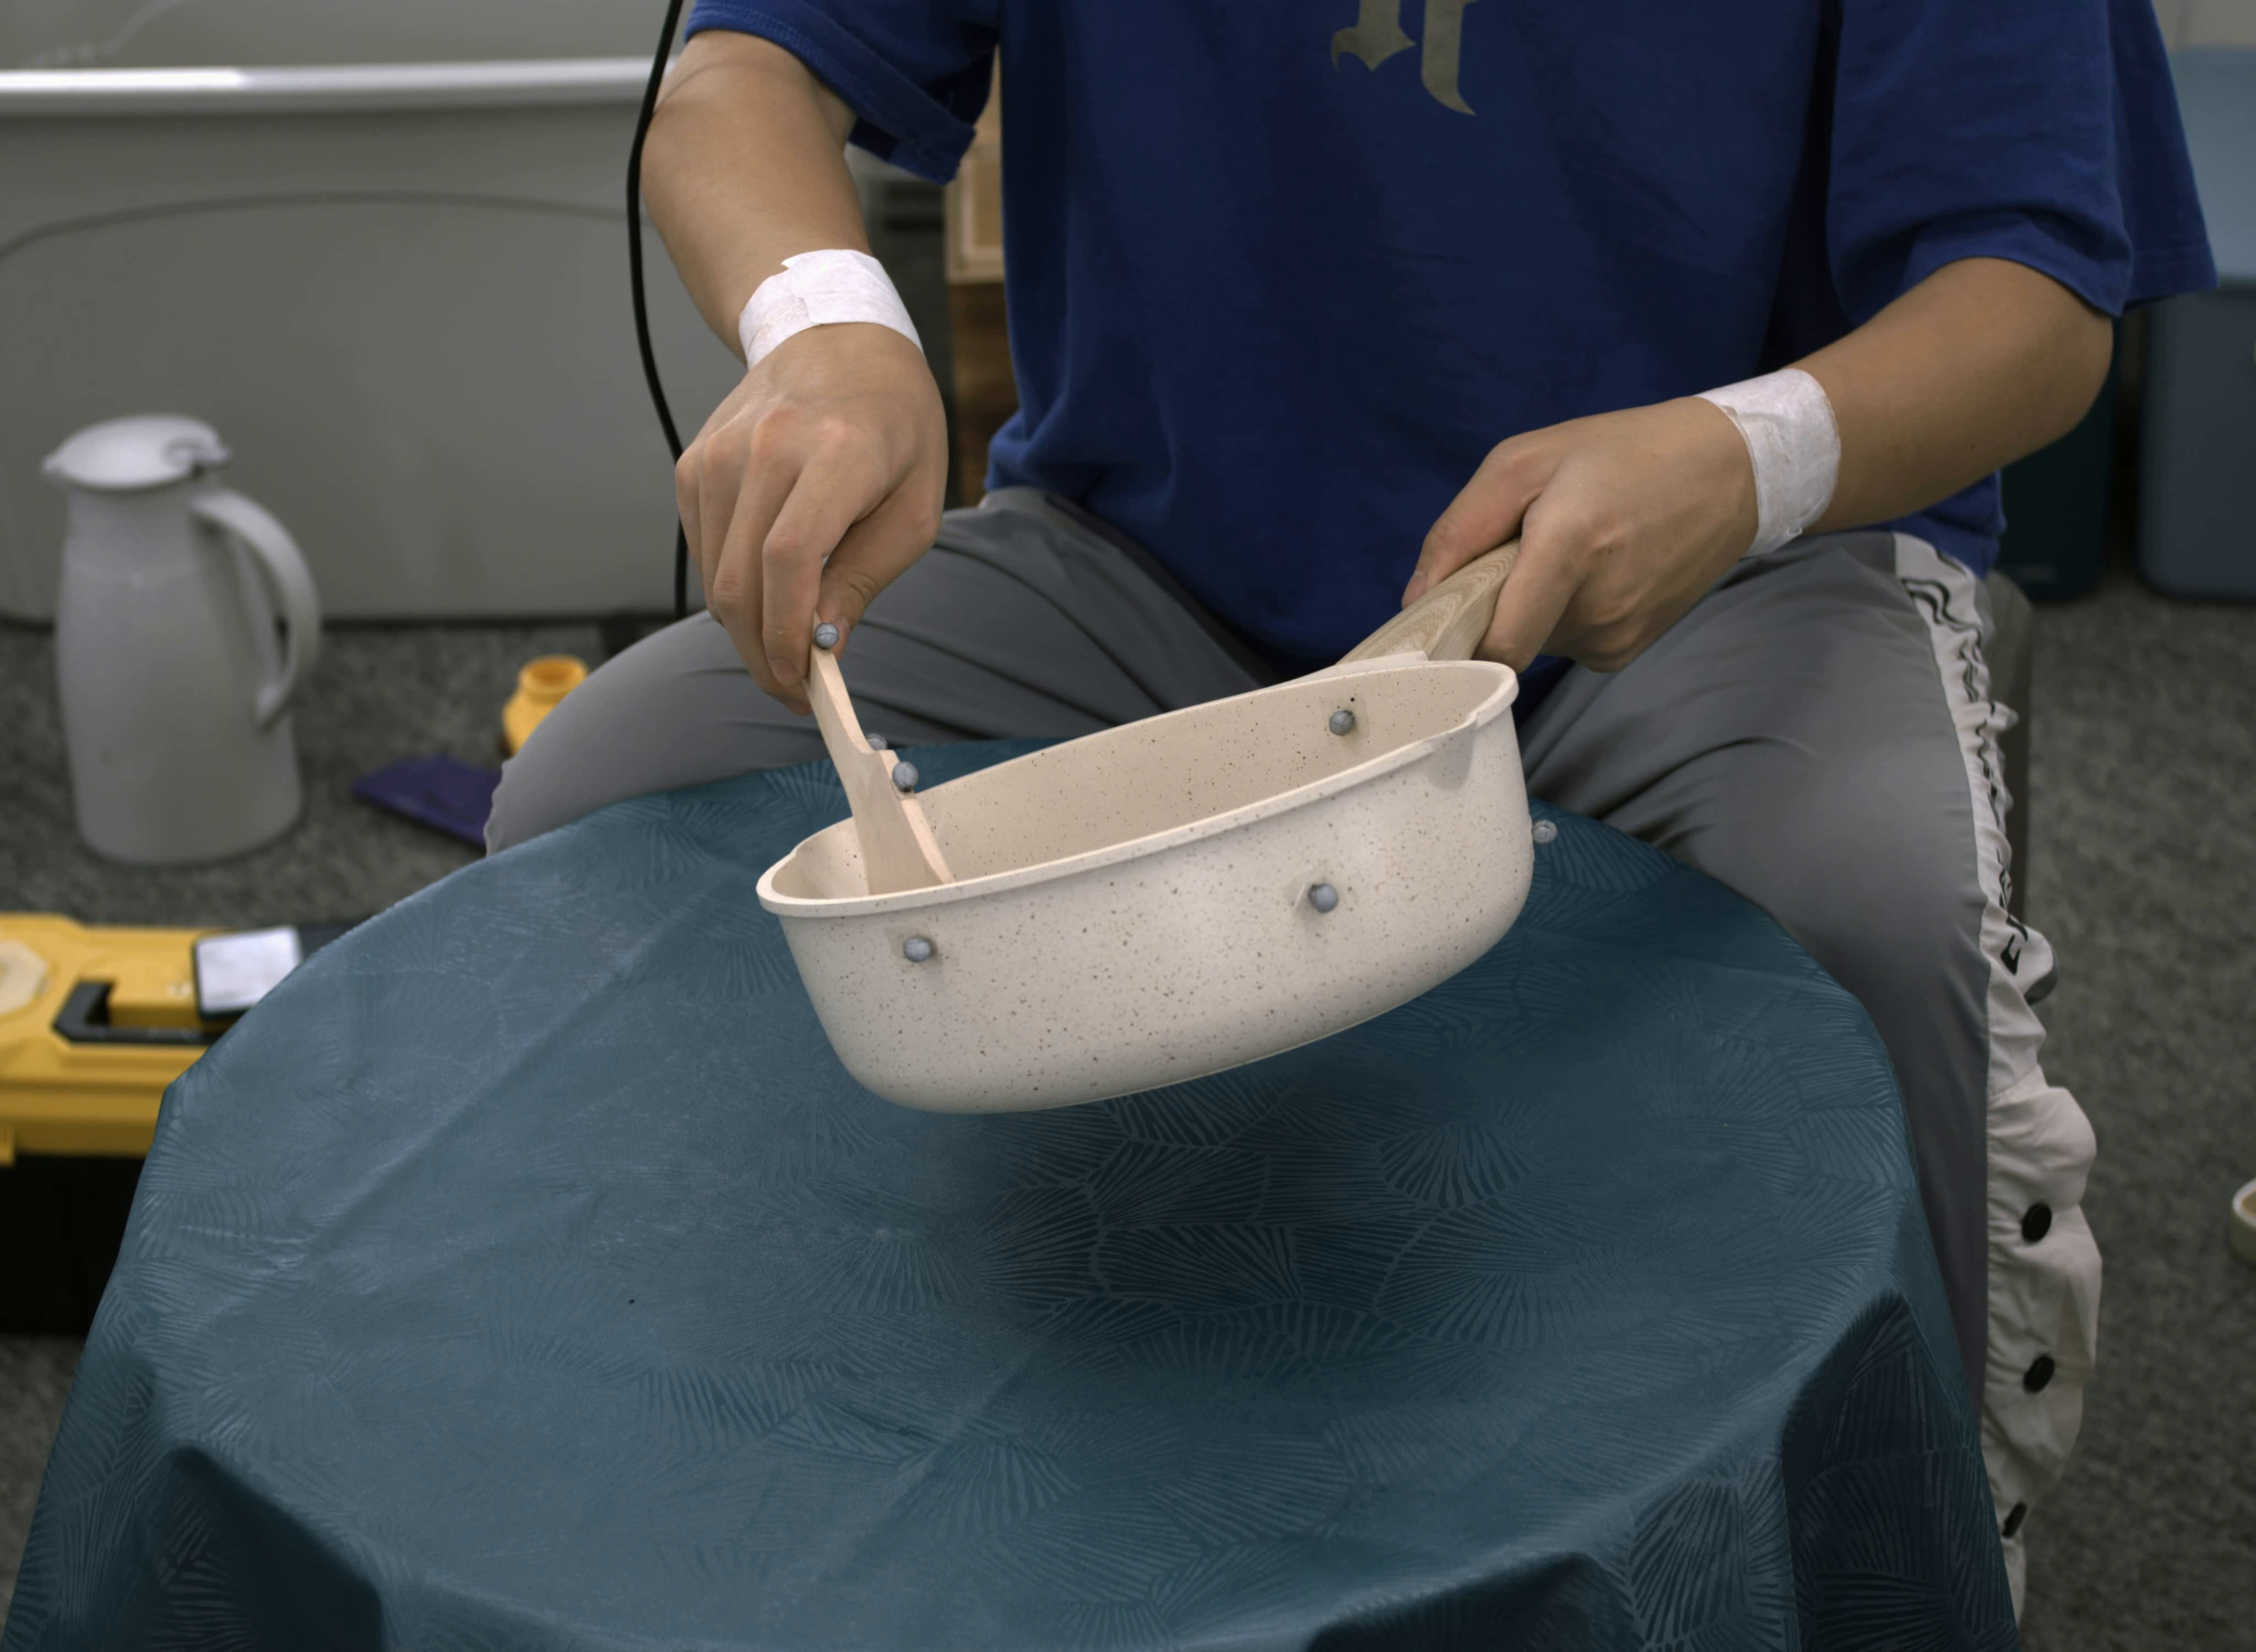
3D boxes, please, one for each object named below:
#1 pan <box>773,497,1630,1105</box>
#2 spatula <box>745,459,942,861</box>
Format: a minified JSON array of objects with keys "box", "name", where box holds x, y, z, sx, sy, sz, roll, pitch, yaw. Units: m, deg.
[{"box":[0.067,-0.012,1.864,0.260,0.102,0.440,-13,8,37],"name":"pan"},{"box":[-0.096,-0.042,1.845,0.010,0.071,0.297,-8,34,-12],"name":"spatula"}]
